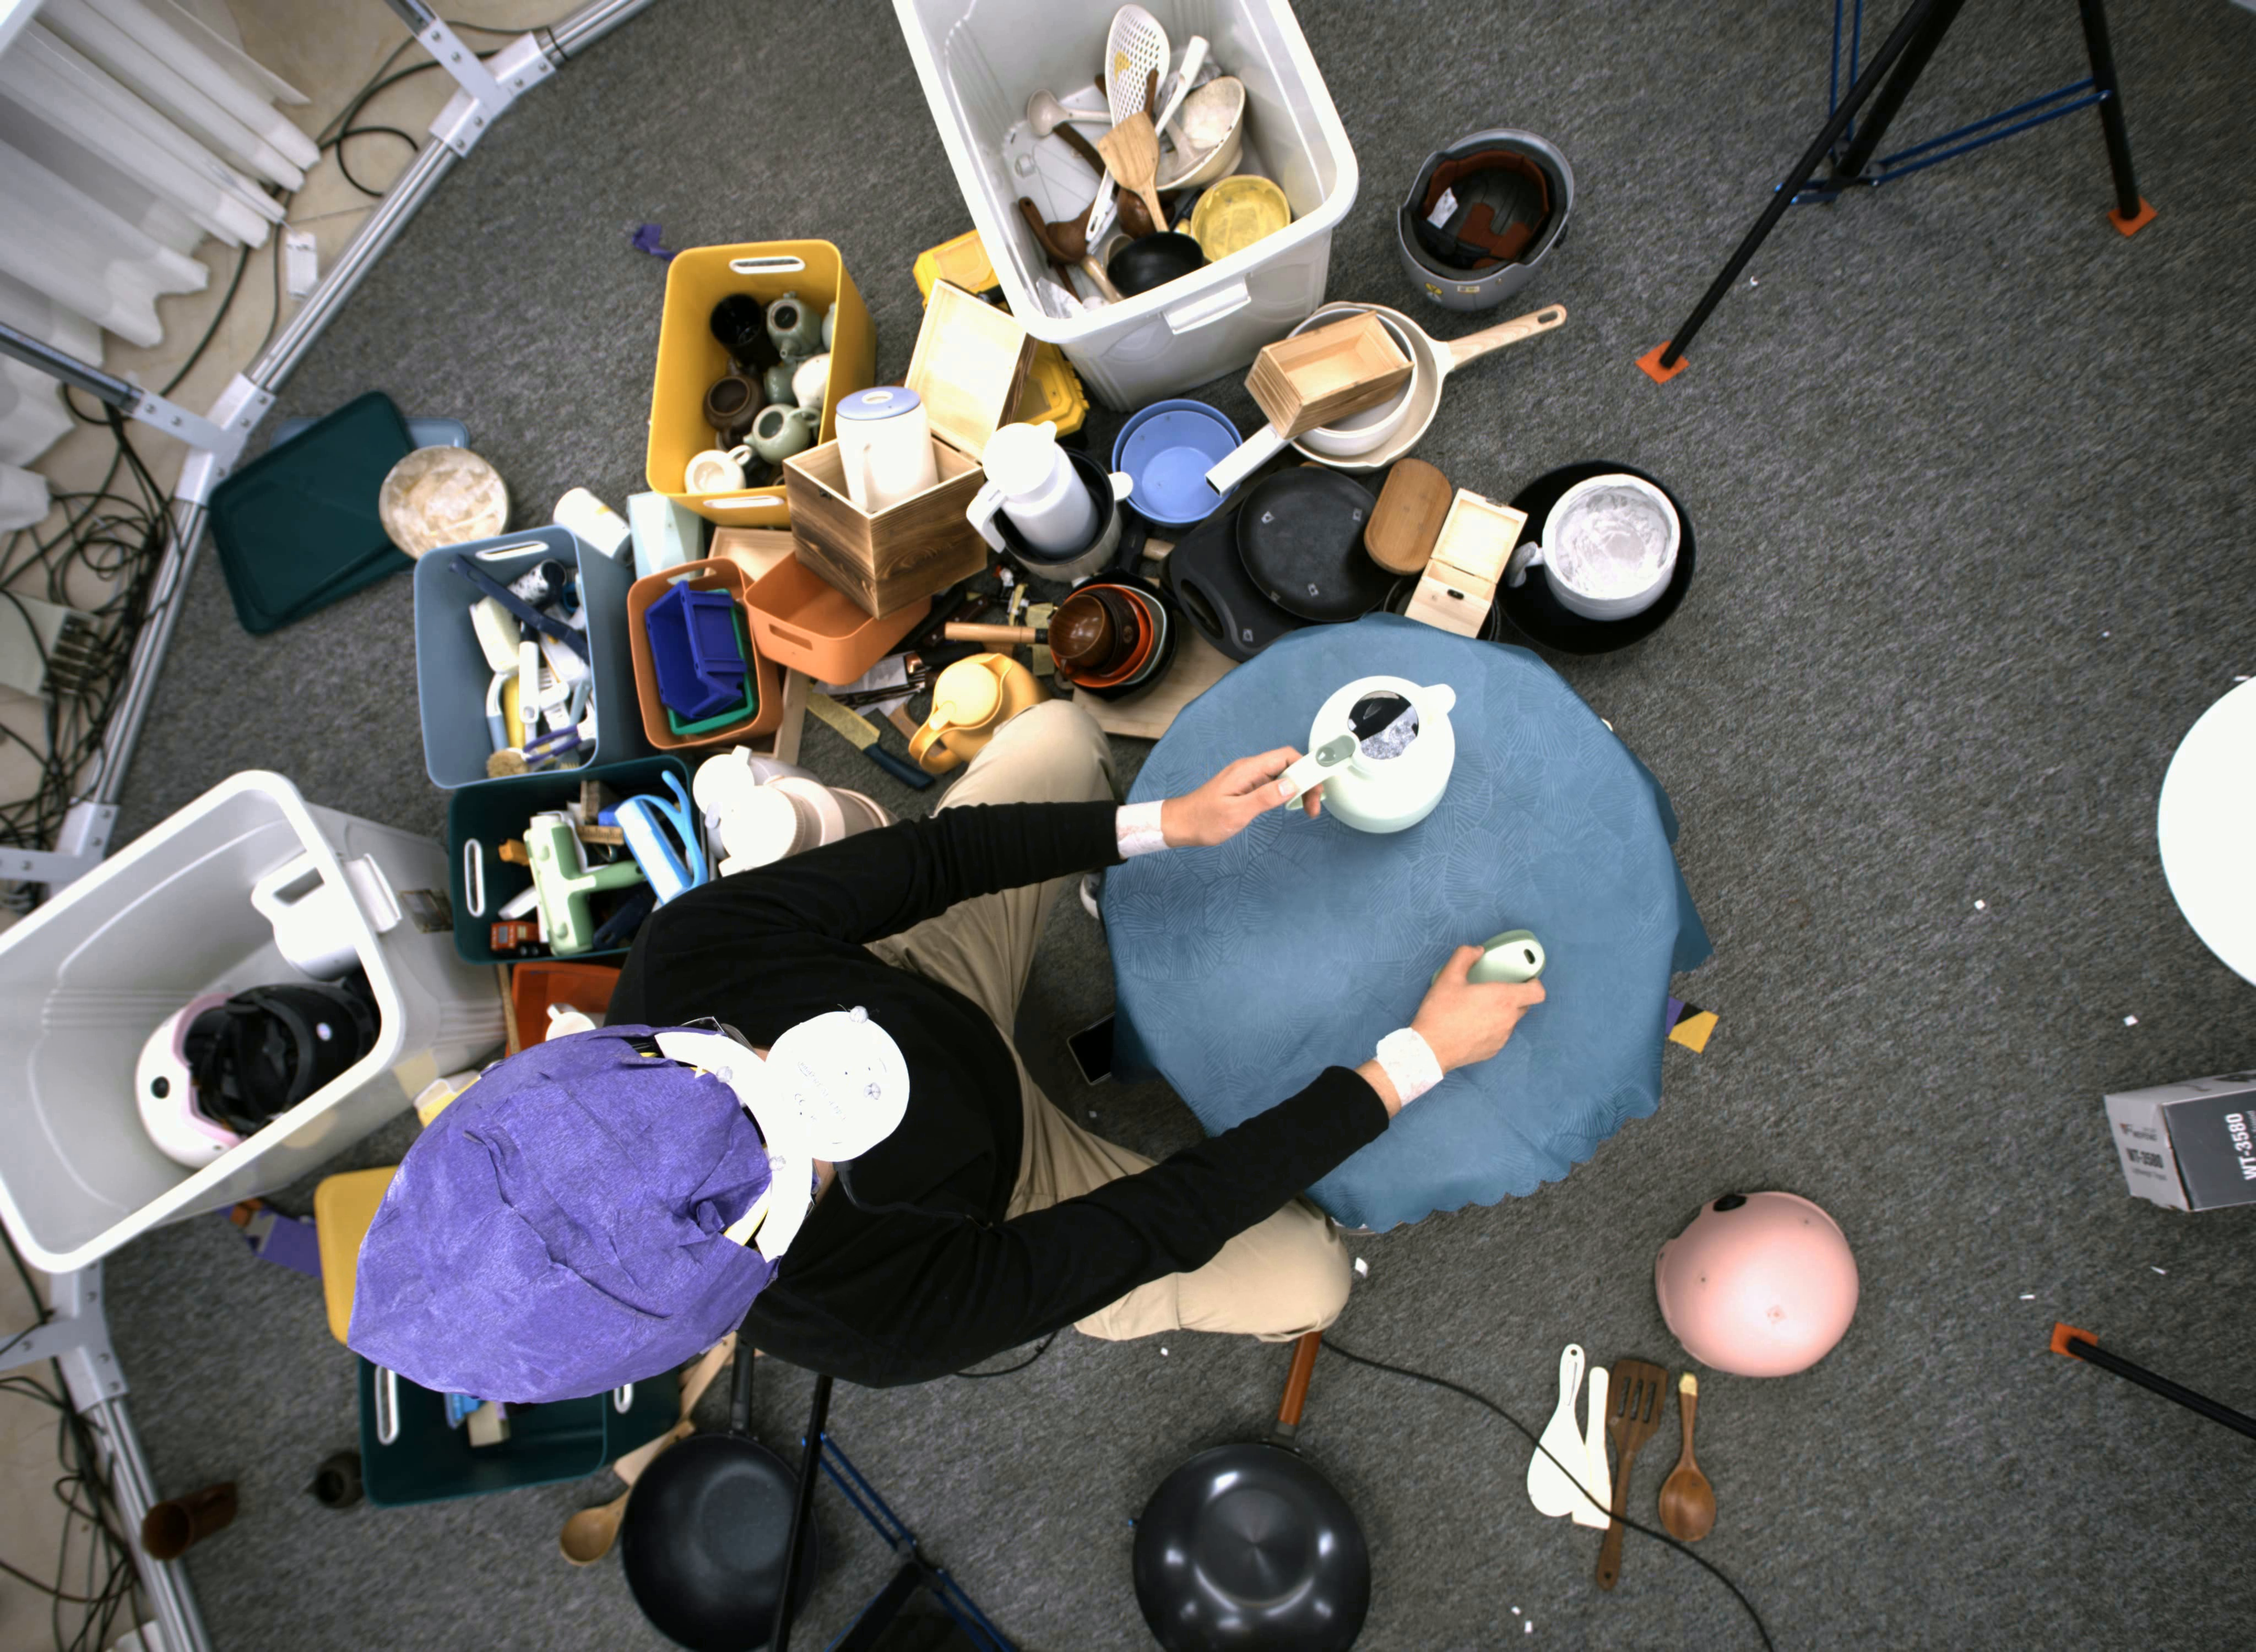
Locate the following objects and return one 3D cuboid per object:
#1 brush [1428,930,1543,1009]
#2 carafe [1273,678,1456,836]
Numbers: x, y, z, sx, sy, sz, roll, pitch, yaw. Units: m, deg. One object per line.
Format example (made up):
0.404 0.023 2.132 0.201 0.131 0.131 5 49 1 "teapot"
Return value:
0.369 0.145 1.415 0.125 0.075 0.059 -27 84 26 "brush"
0.234 -0.069 1.344 0.188 0.257 0.143 -29 80 9 "carafe"
